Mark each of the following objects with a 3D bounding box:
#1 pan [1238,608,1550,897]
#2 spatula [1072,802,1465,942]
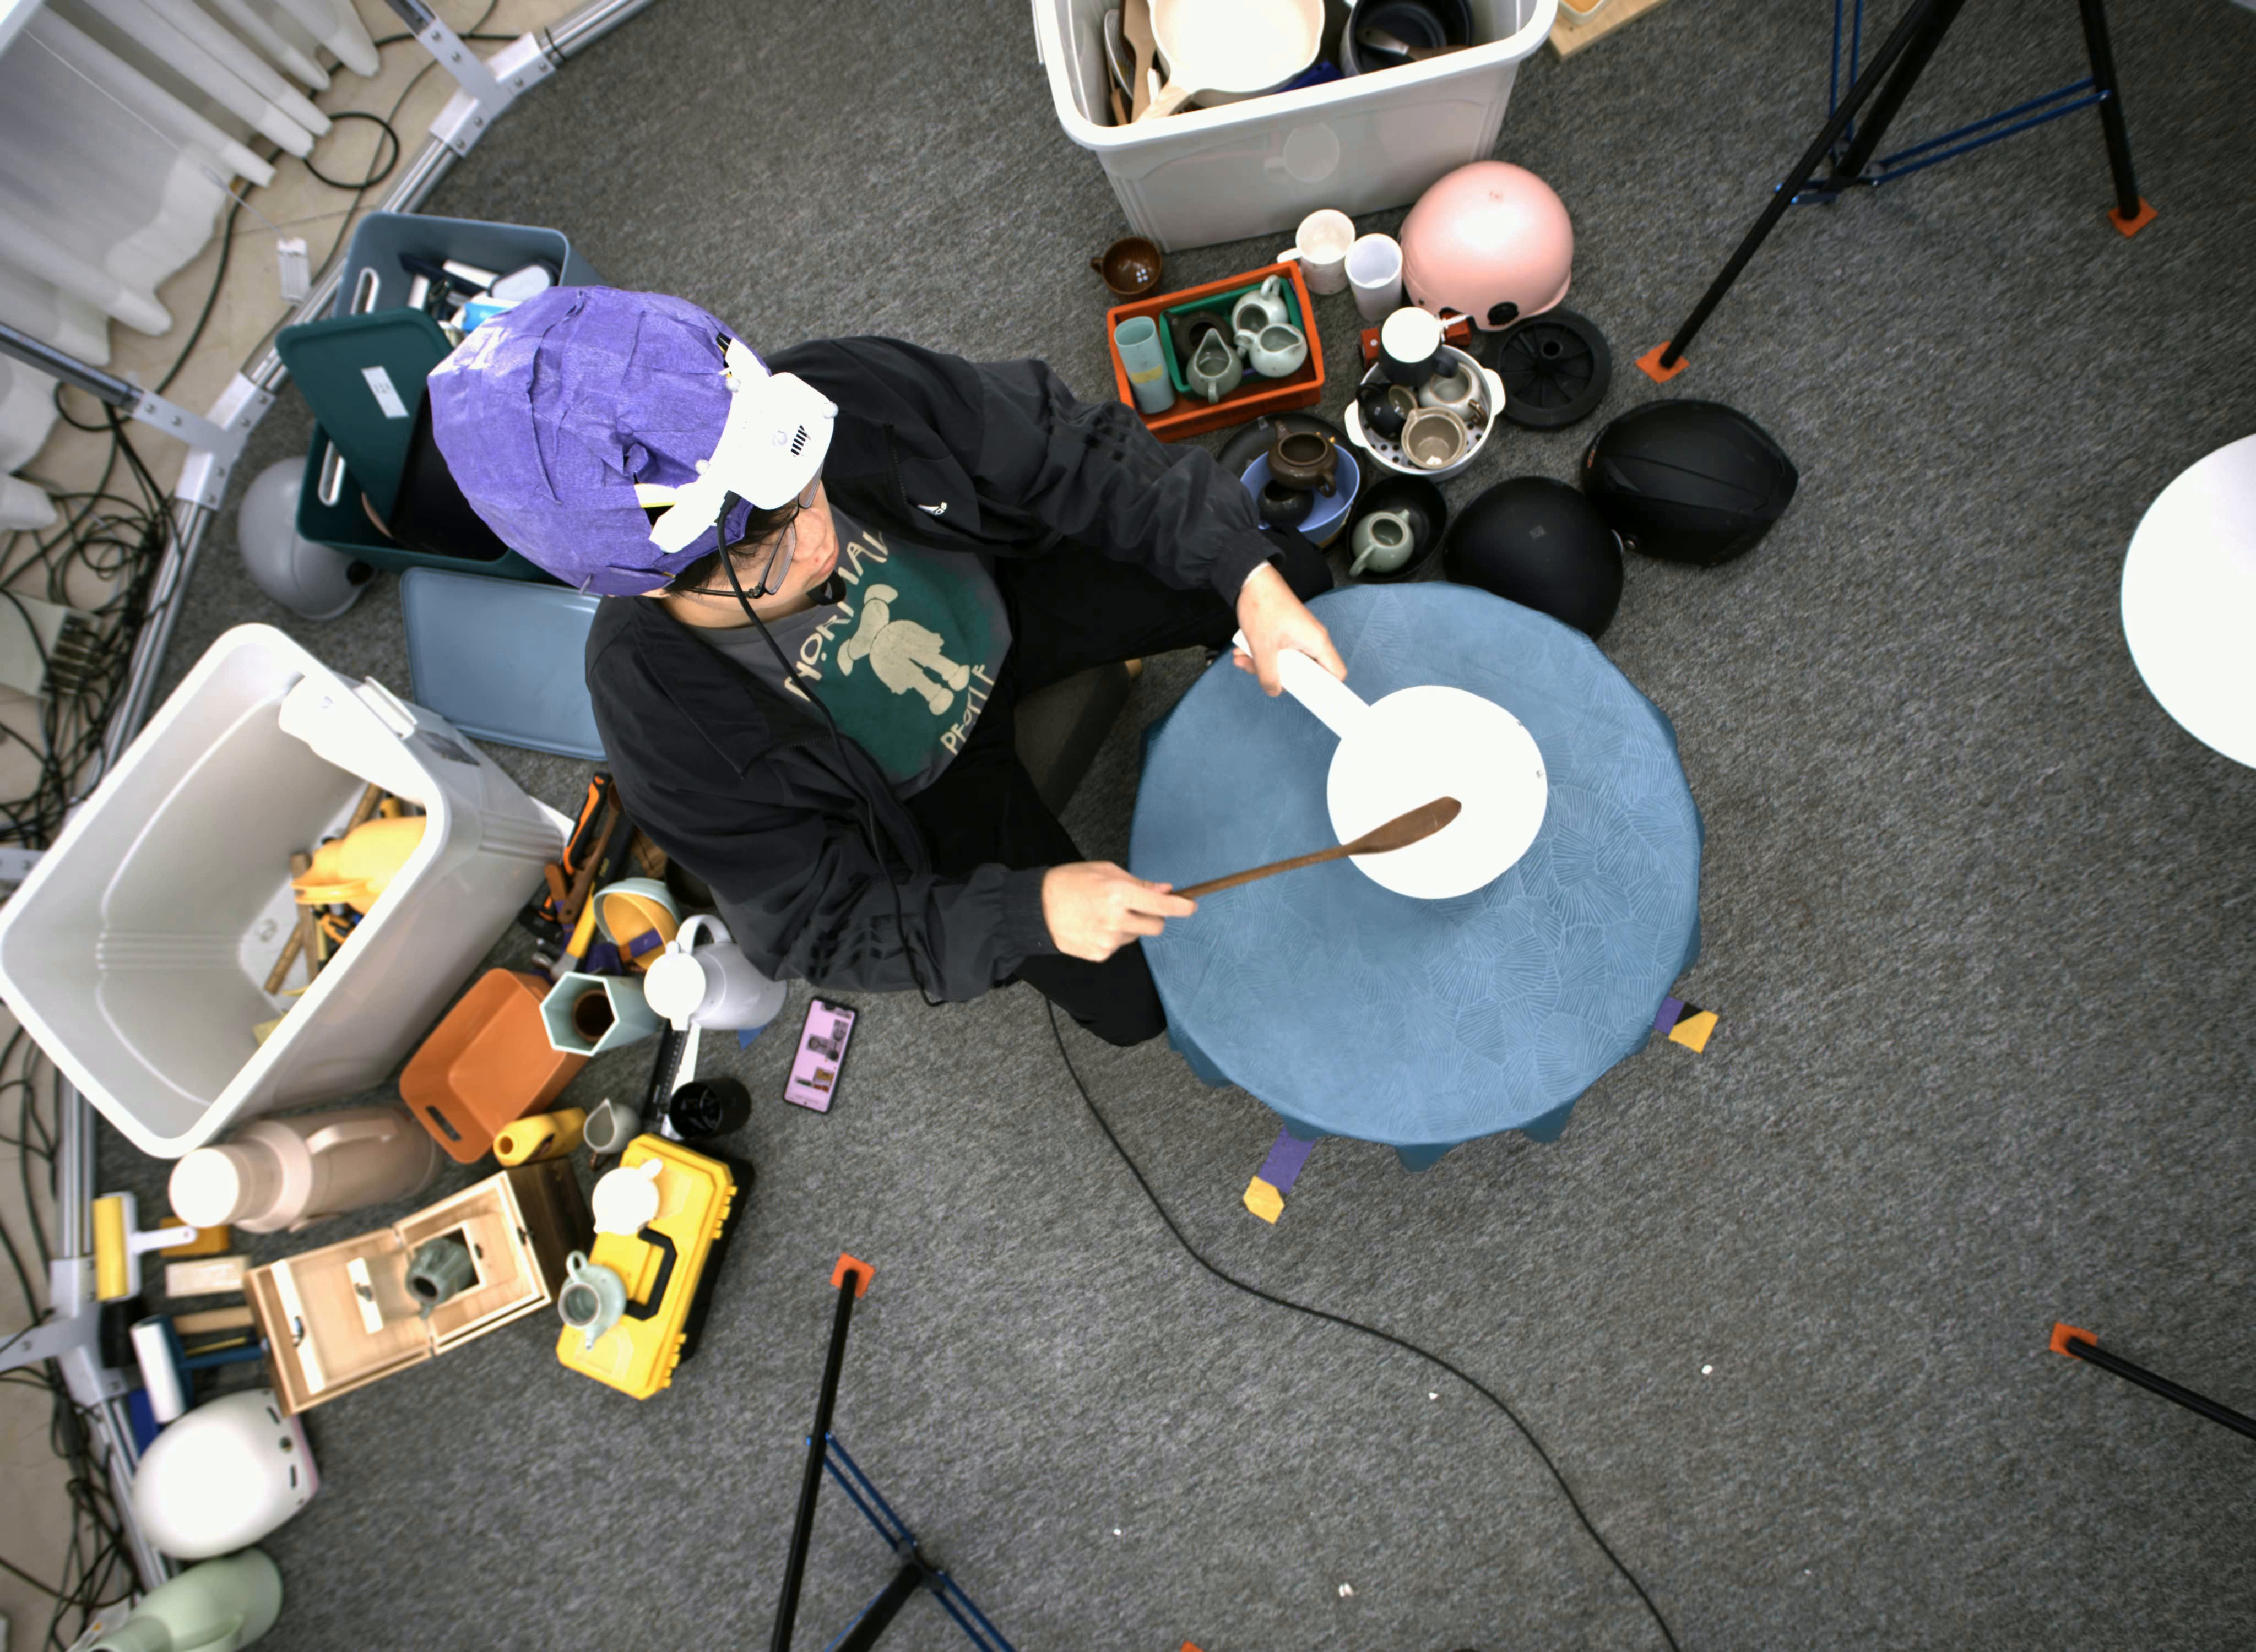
[{"bbox_3d":[0.257,-0.088,1.364,0.352,0.101,0.205,45,115,17],"label":"pan"},{"bbox_3d":[0.122,0.046,1.276,0.389,0.094,0.016,-18,101,17],"label":"spatula"}]
